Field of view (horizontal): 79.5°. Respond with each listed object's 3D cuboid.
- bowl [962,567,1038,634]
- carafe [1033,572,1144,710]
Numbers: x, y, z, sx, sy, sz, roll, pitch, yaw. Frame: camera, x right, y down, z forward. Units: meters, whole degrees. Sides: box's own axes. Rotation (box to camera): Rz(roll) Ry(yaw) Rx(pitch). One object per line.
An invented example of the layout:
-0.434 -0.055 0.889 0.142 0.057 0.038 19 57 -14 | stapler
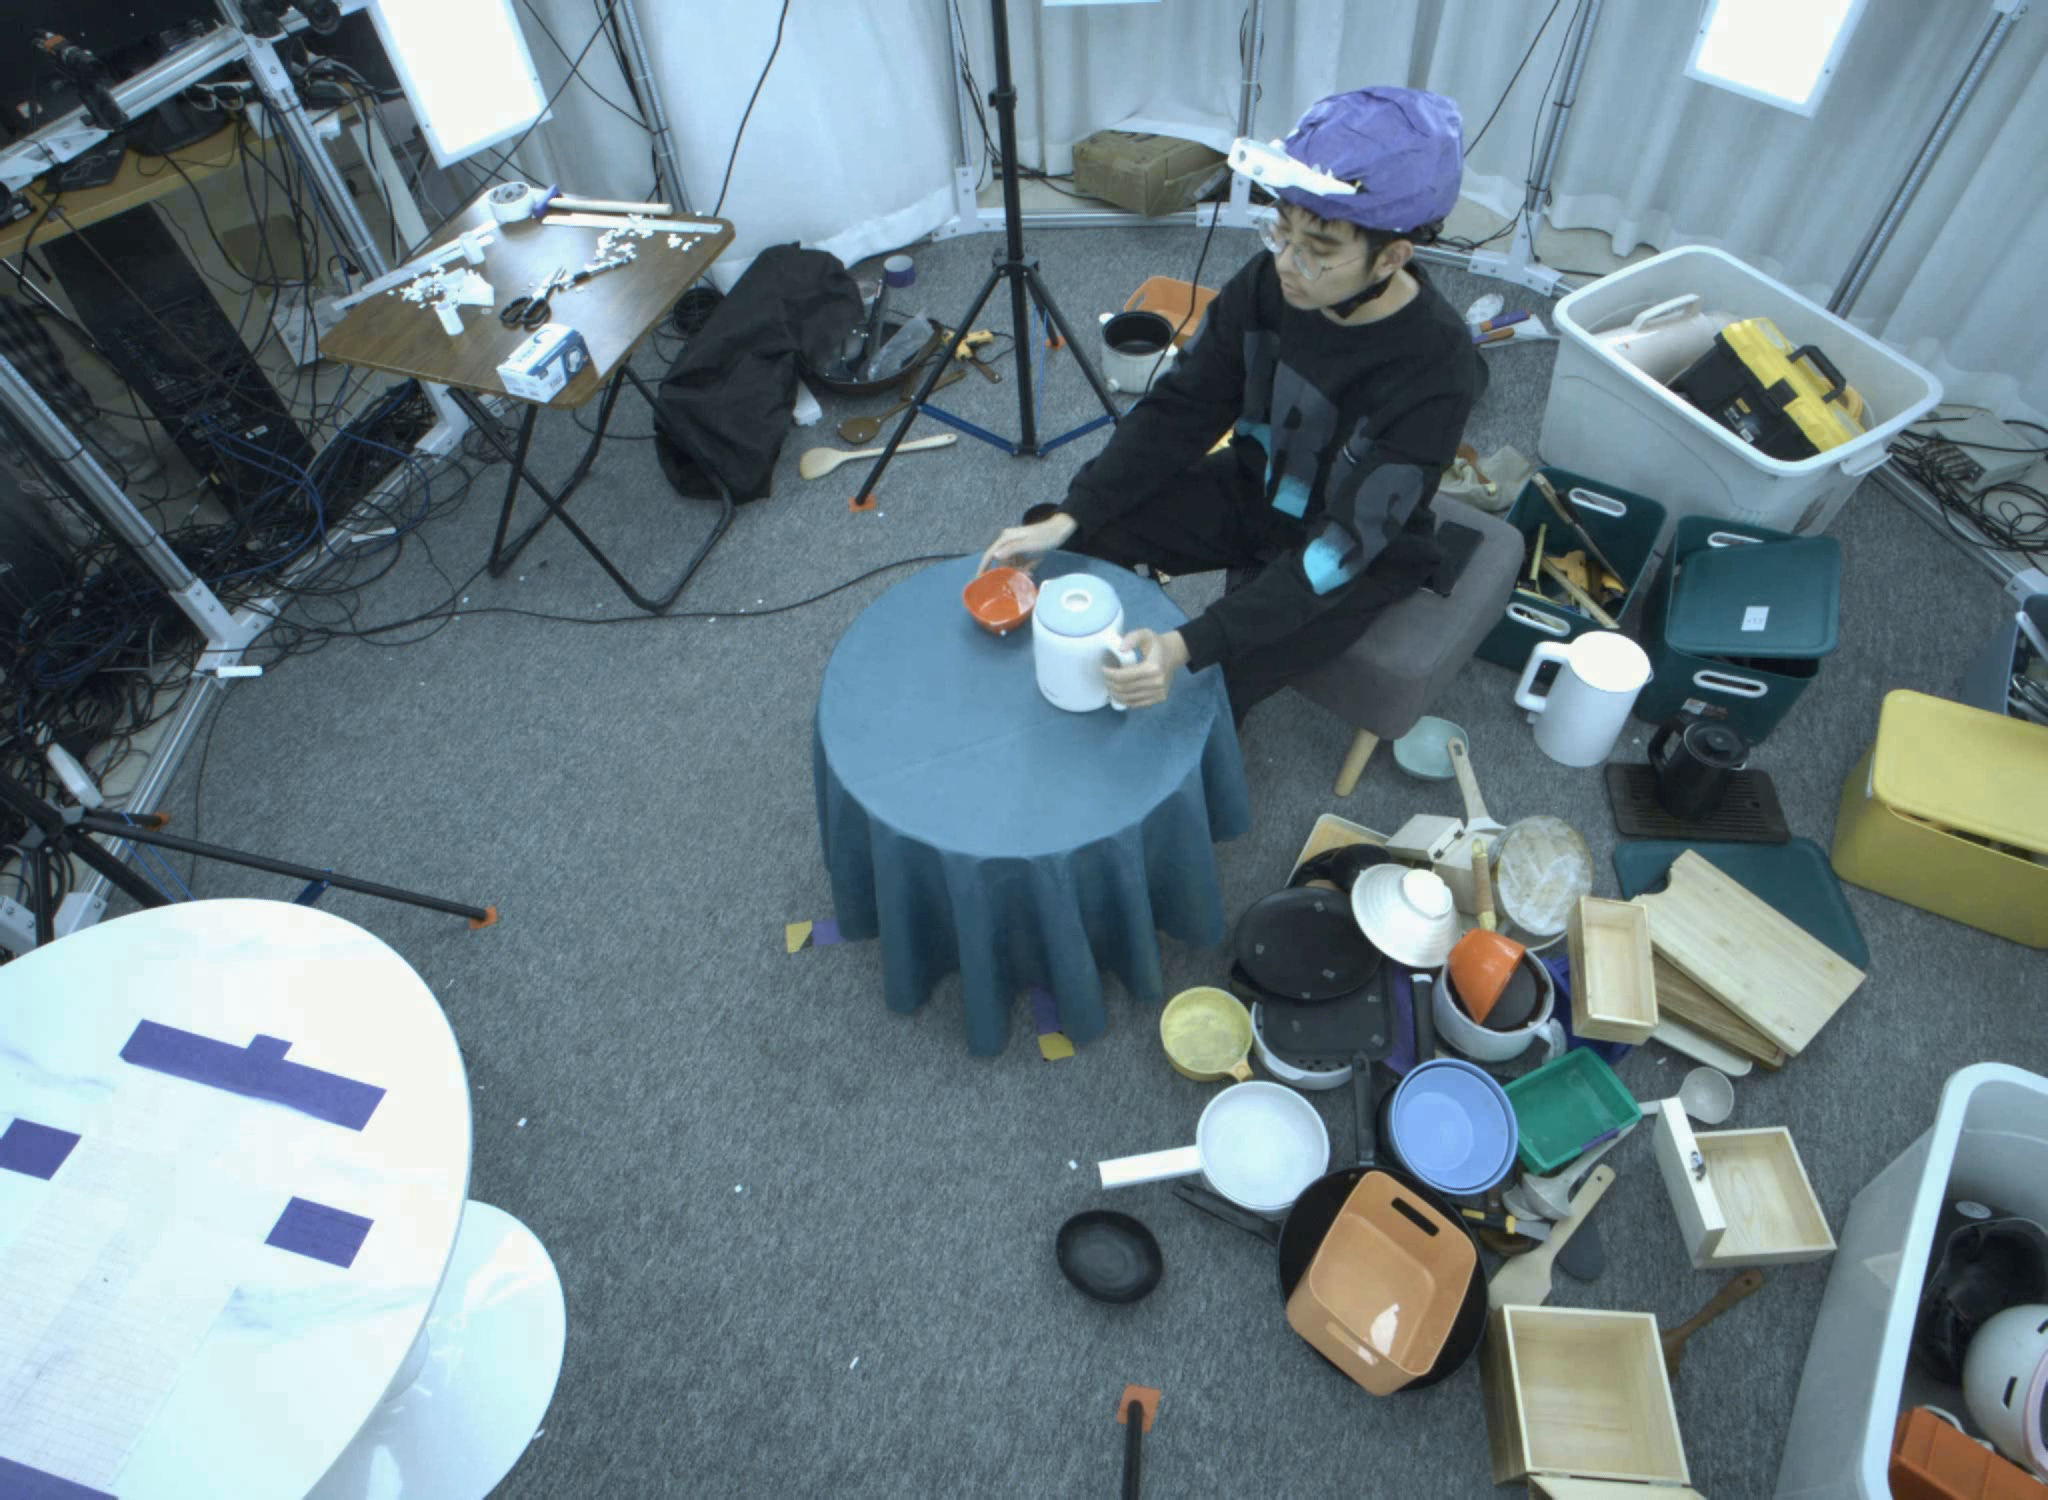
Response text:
-0.035 -0.226 1.915 0.118 0.052 0.117 -3 53 5 | bowl
0.098 -0.144 1.777 0.188 0.184 0.133 38 66 23 | carafe
